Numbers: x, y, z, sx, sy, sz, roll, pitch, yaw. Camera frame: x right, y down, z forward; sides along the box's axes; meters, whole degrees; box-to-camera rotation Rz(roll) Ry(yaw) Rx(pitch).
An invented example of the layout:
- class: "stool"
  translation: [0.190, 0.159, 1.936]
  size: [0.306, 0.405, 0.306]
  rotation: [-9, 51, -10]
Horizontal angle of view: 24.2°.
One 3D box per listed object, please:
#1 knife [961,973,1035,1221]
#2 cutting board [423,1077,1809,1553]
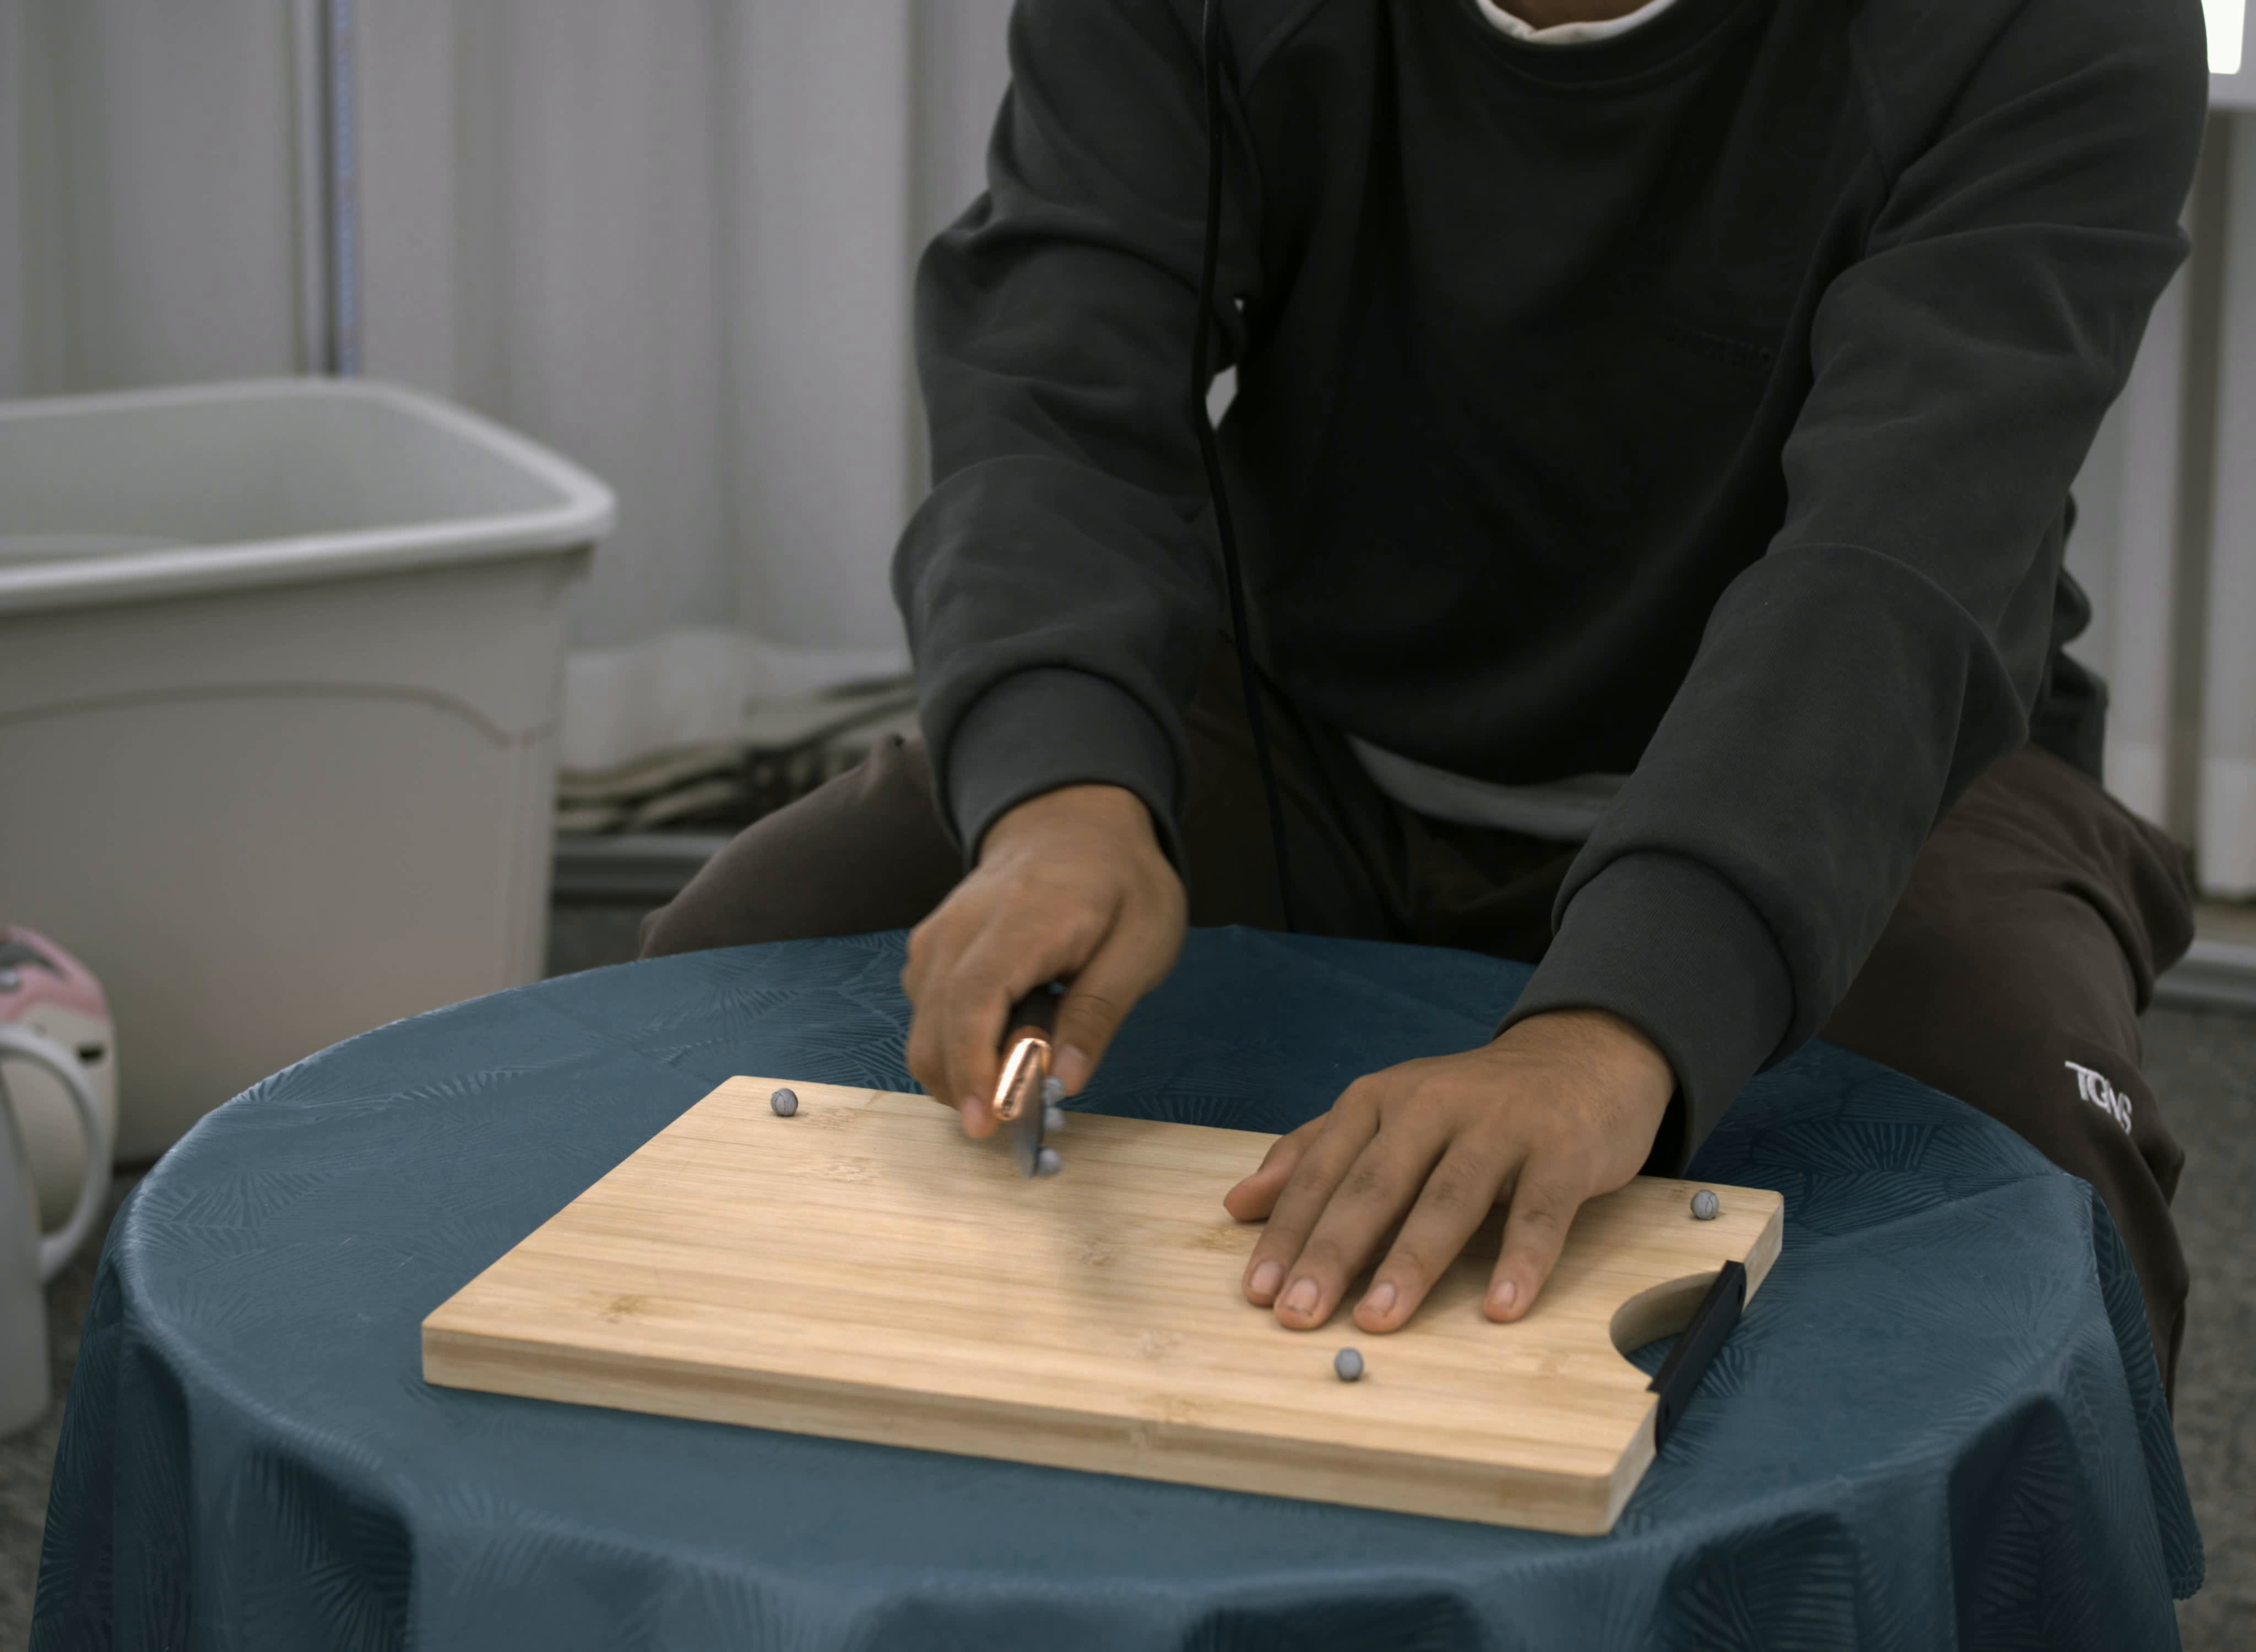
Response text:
- class: "knife"
  translation: [-0.037, 0.077, 1.538]
  size: [0.017, 0.026, 0.224]
  rotation: [26, 9, -9]
- class: "cutting board"
  translation: [0.004, 0.134, 1.519]
  size: [0.346, 0.024, 0.250]
  rotation: [5, 16, 16]
